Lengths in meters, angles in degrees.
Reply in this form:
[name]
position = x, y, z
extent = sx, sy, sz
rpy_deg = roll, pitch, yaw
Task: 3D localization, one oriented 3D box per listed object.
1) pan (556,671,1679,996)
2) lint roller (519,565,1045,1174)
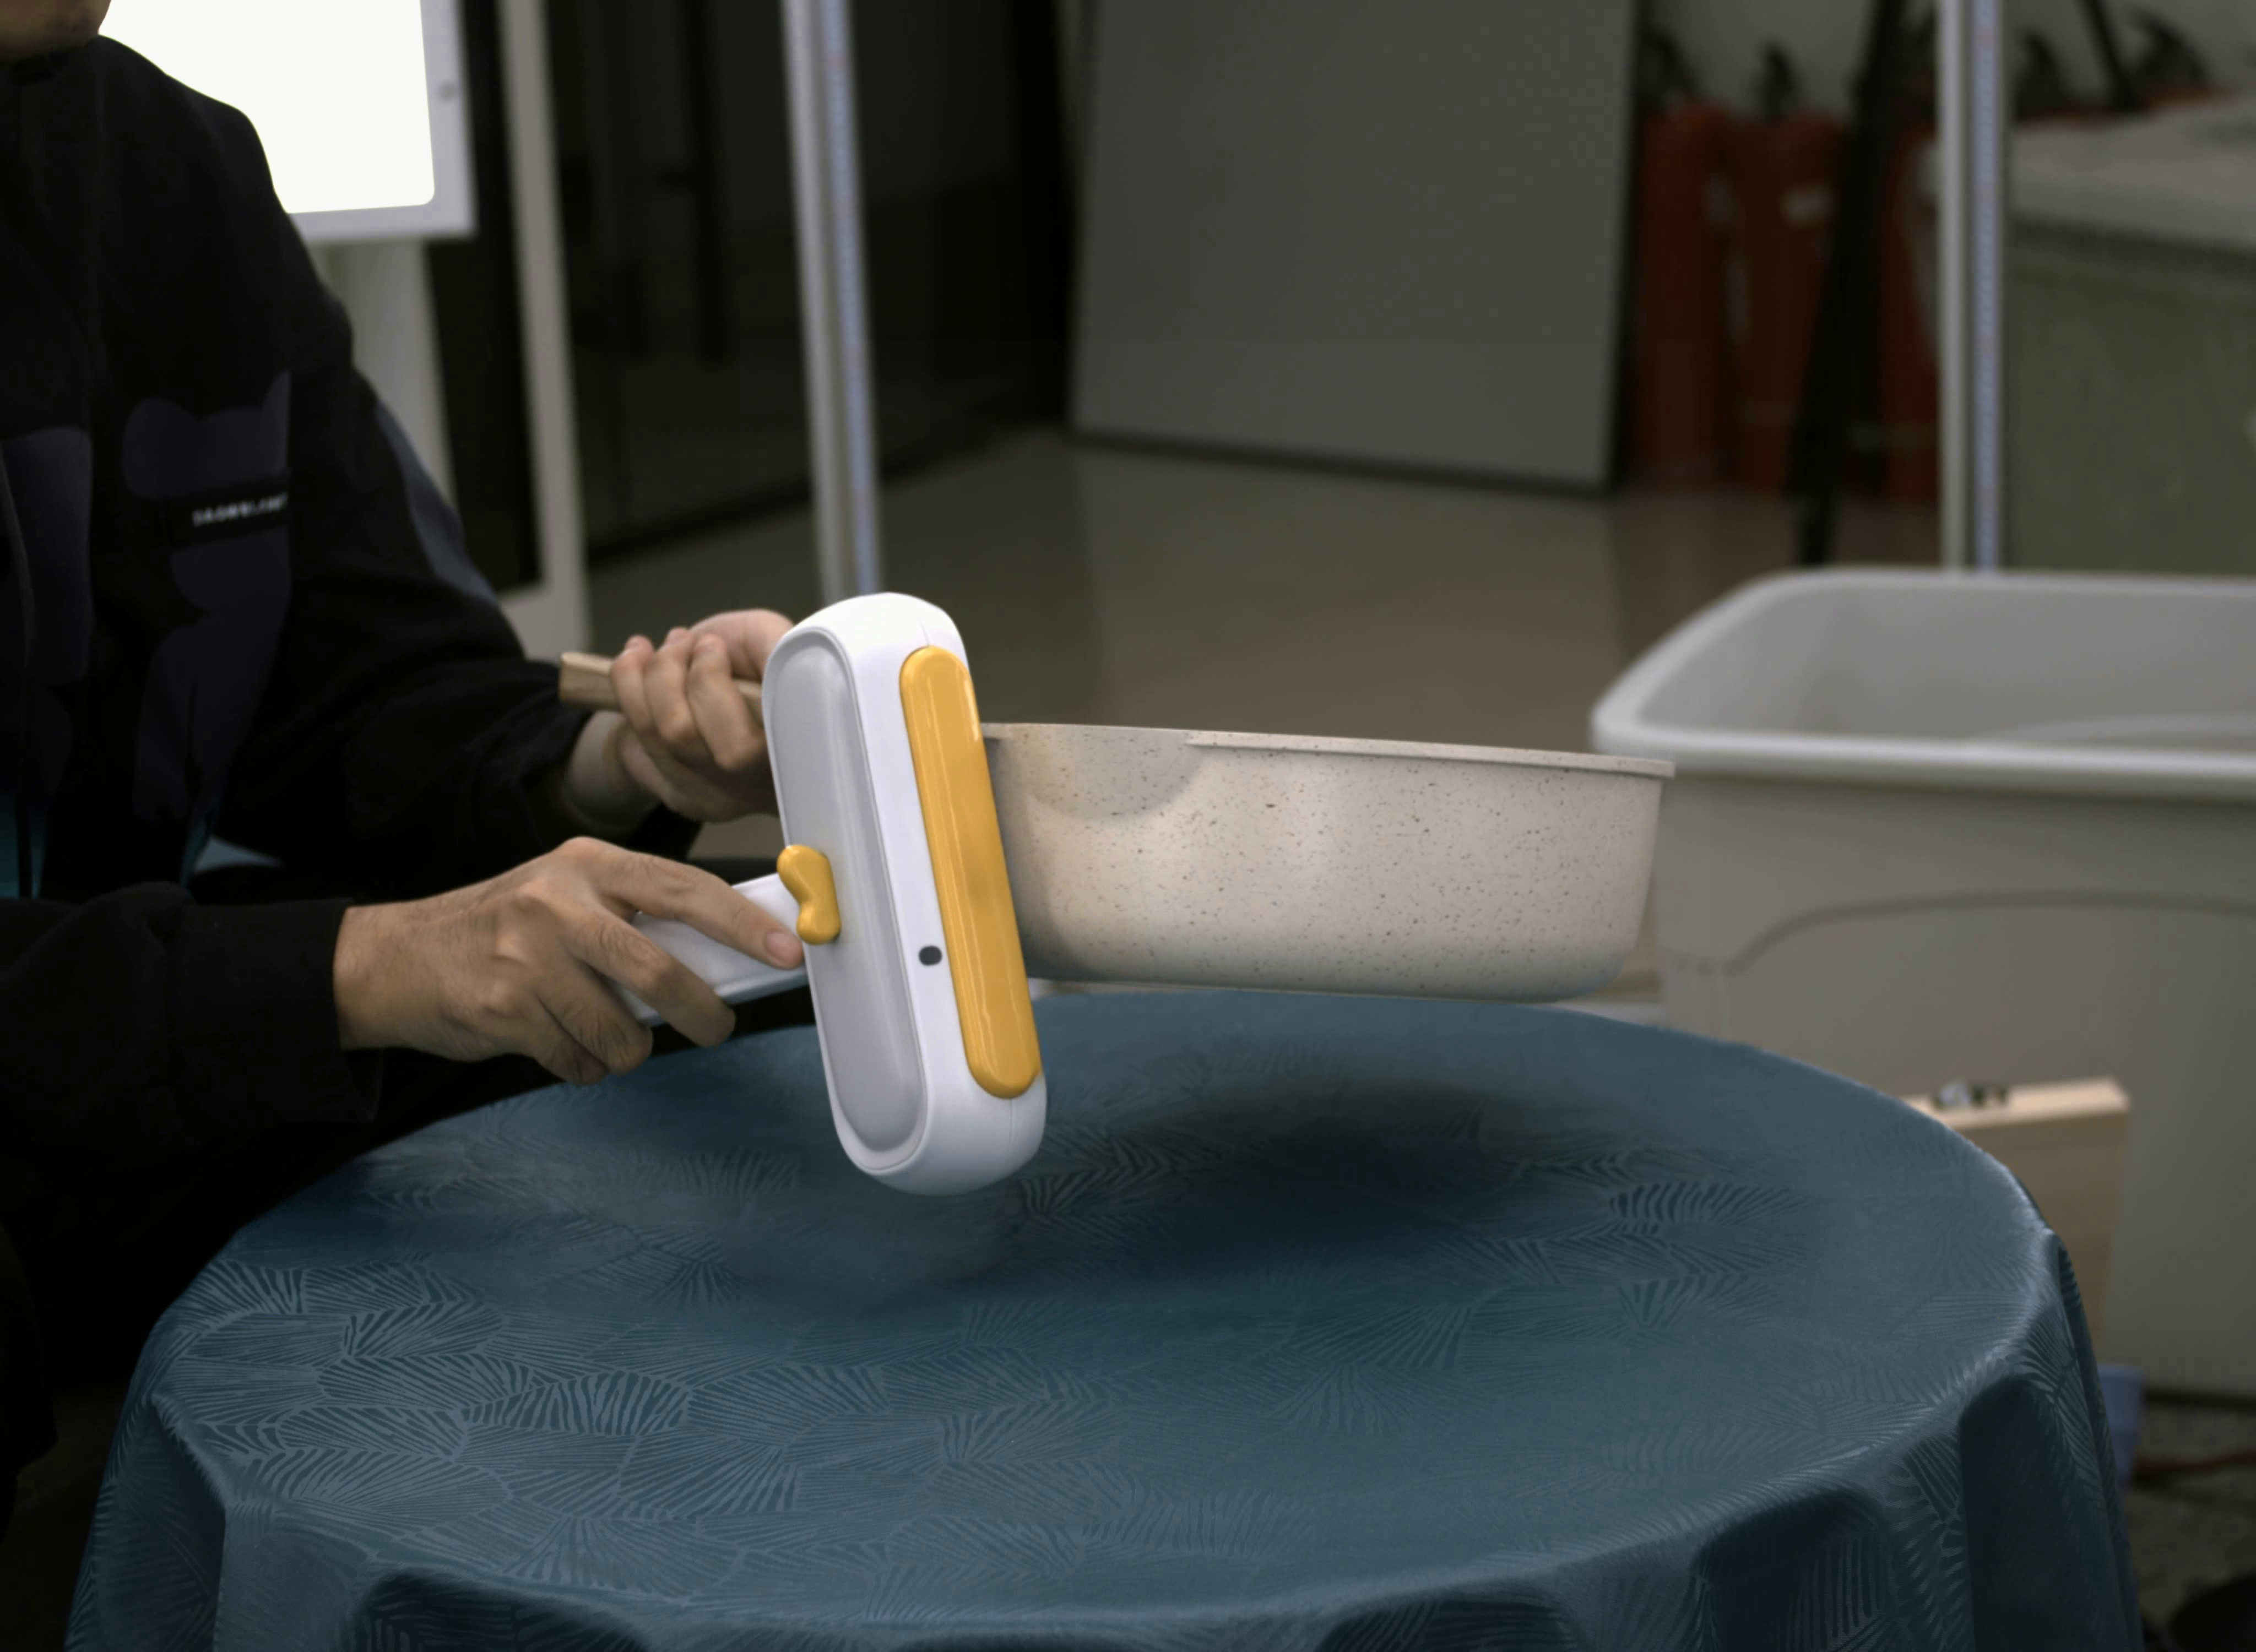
[pan]
position = -0.020, 0.002, 1.832
extent = 0.437, 0.103, 0.258
rpy_deg = 2, 1, 34
[lint roller]
position = -0.117, 0.033, 1.737
extent = 0.072, 0.195, 0.194
rpy_deg = -6, -14, -47
